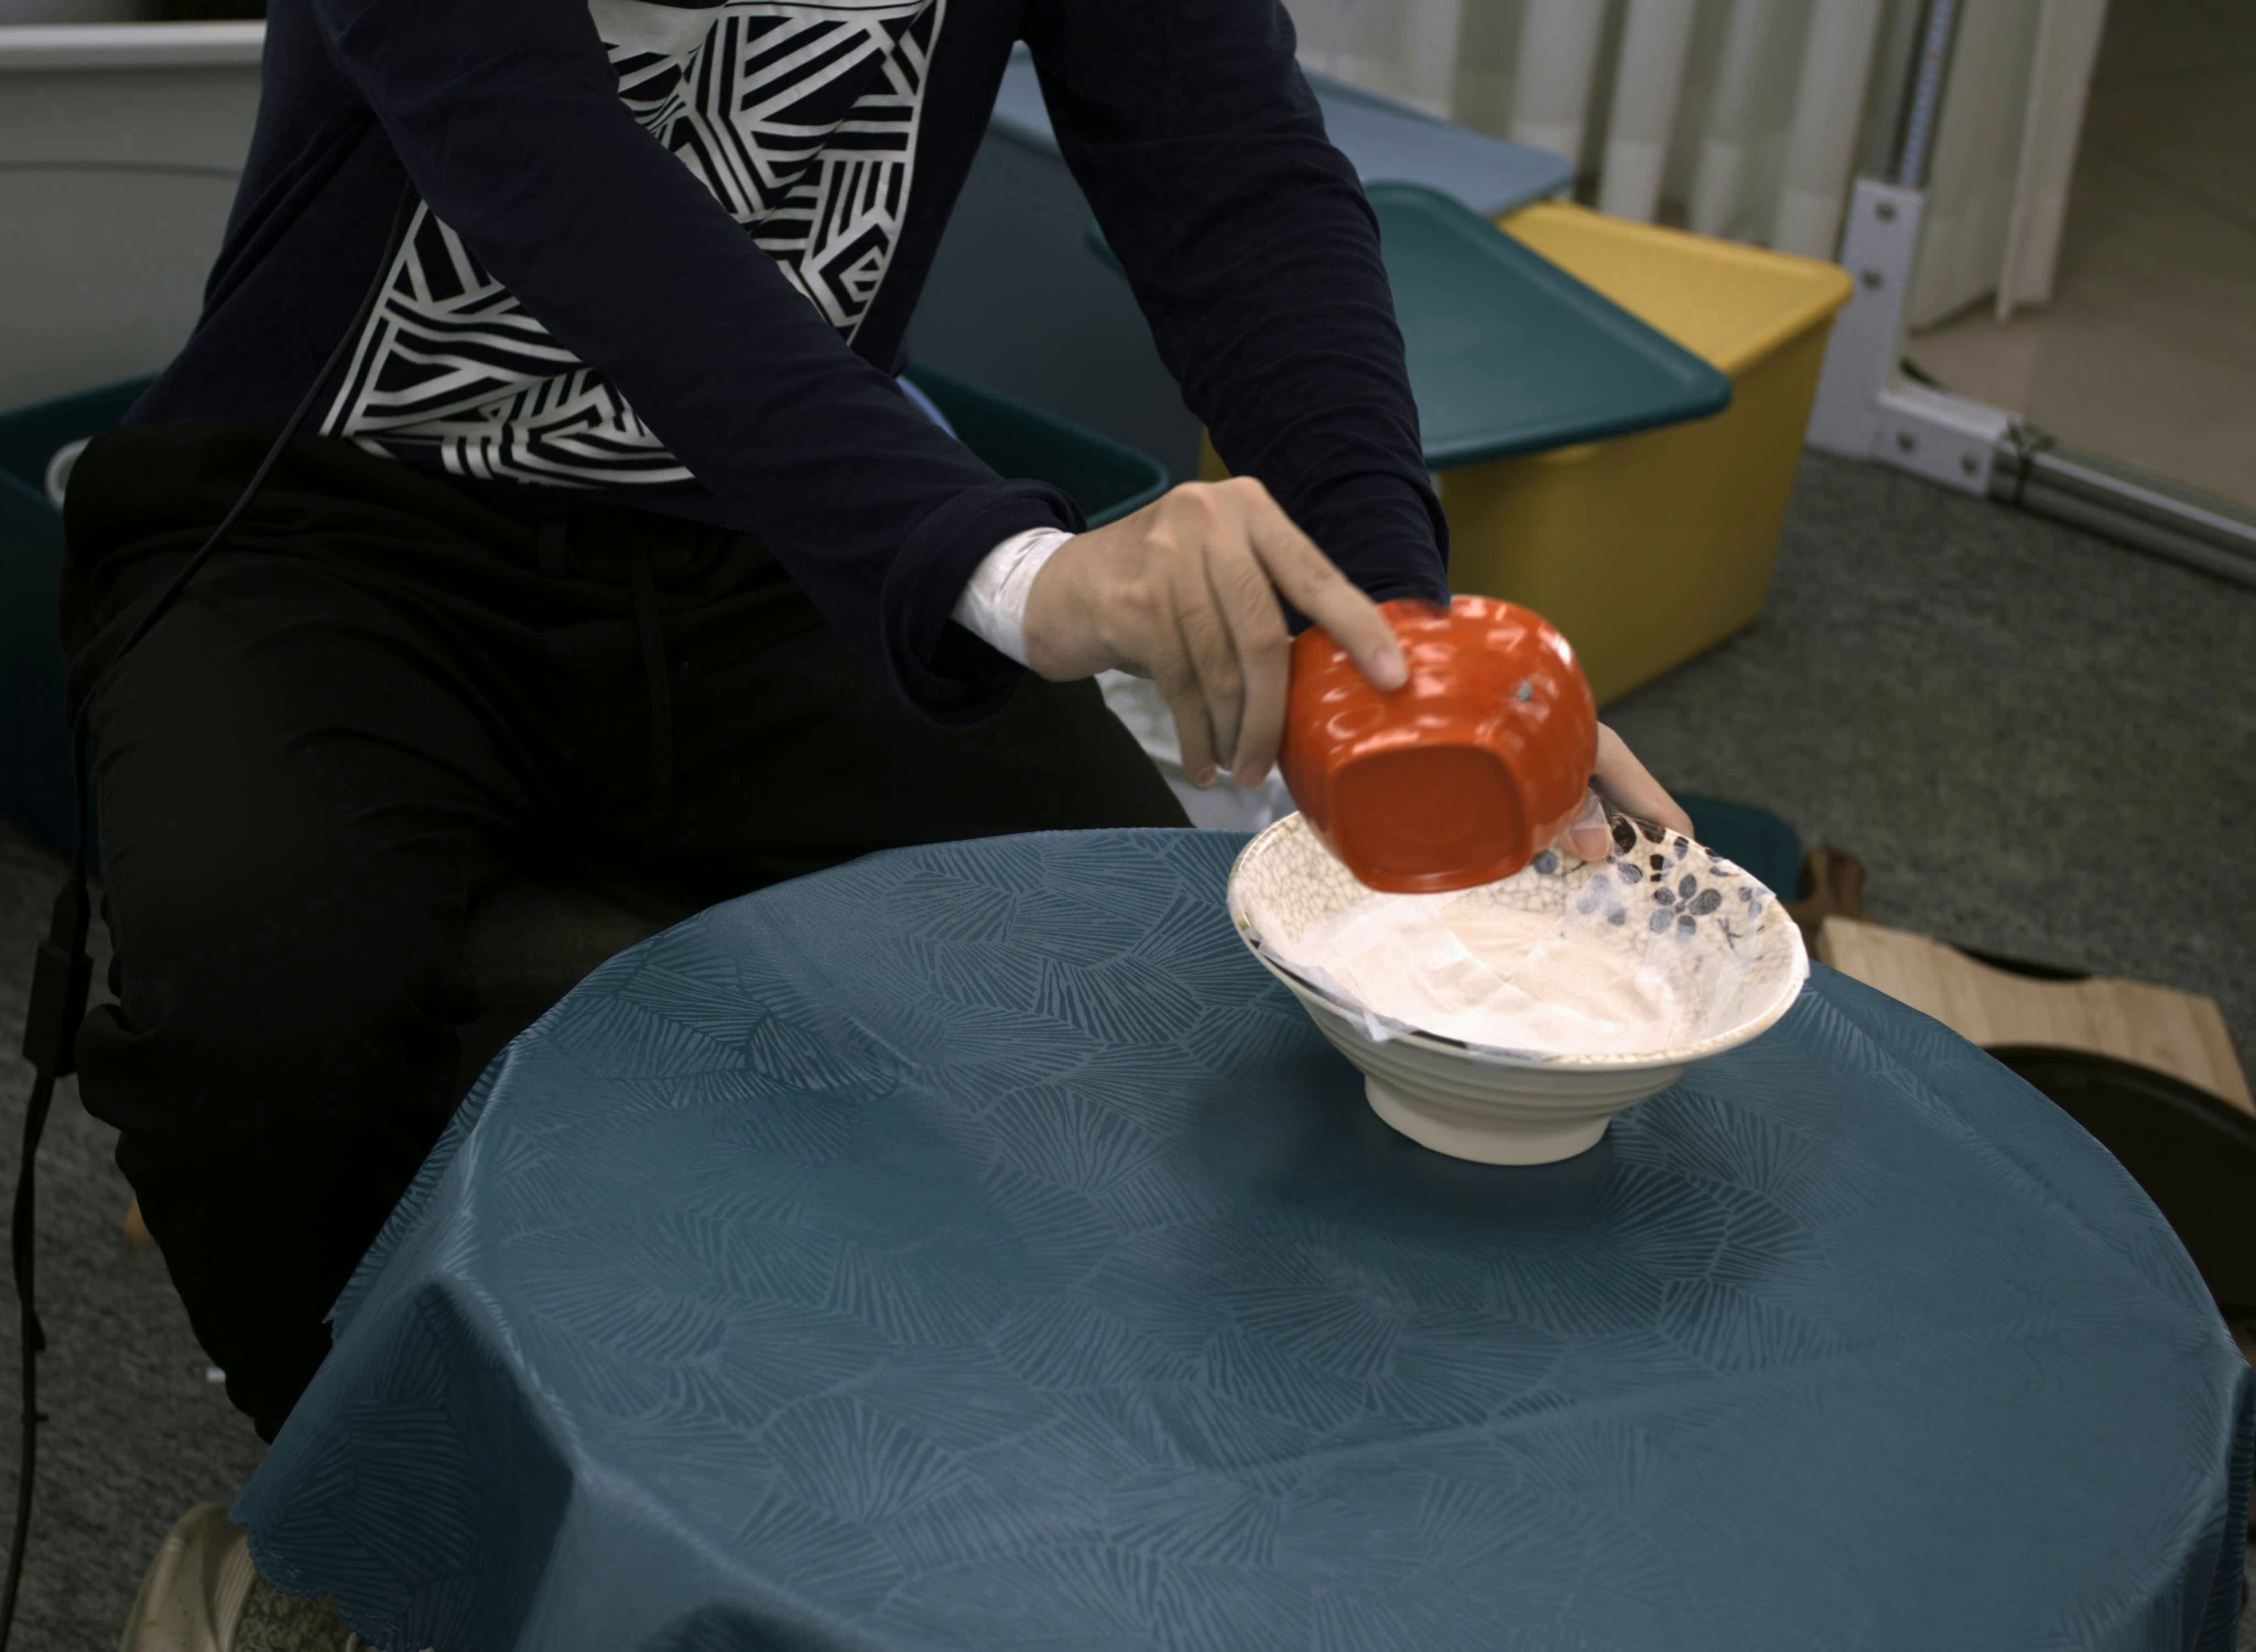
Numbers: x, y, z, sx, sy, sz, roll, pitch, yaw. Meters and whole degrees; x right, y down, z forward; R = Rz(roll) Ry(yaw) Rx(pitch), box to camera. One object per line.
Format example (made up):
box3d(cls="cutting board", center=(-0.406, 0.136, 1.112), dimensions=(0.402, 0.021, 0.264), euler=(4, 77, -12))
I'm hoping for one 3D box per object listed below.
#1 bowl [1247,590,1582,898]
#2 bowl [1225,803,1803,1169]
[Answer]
box3d(cls="bowl", center=(0.093, -0.018, 1.759), dimensions=(0.118, 0.118, 0.052), euler=(8, 39, 1))
box3d(cls="bowl", center=(0.130, 0.065, 1.866), dimensions=(0.203, 0.078, 0.205), euler=(6, 26, -3))
